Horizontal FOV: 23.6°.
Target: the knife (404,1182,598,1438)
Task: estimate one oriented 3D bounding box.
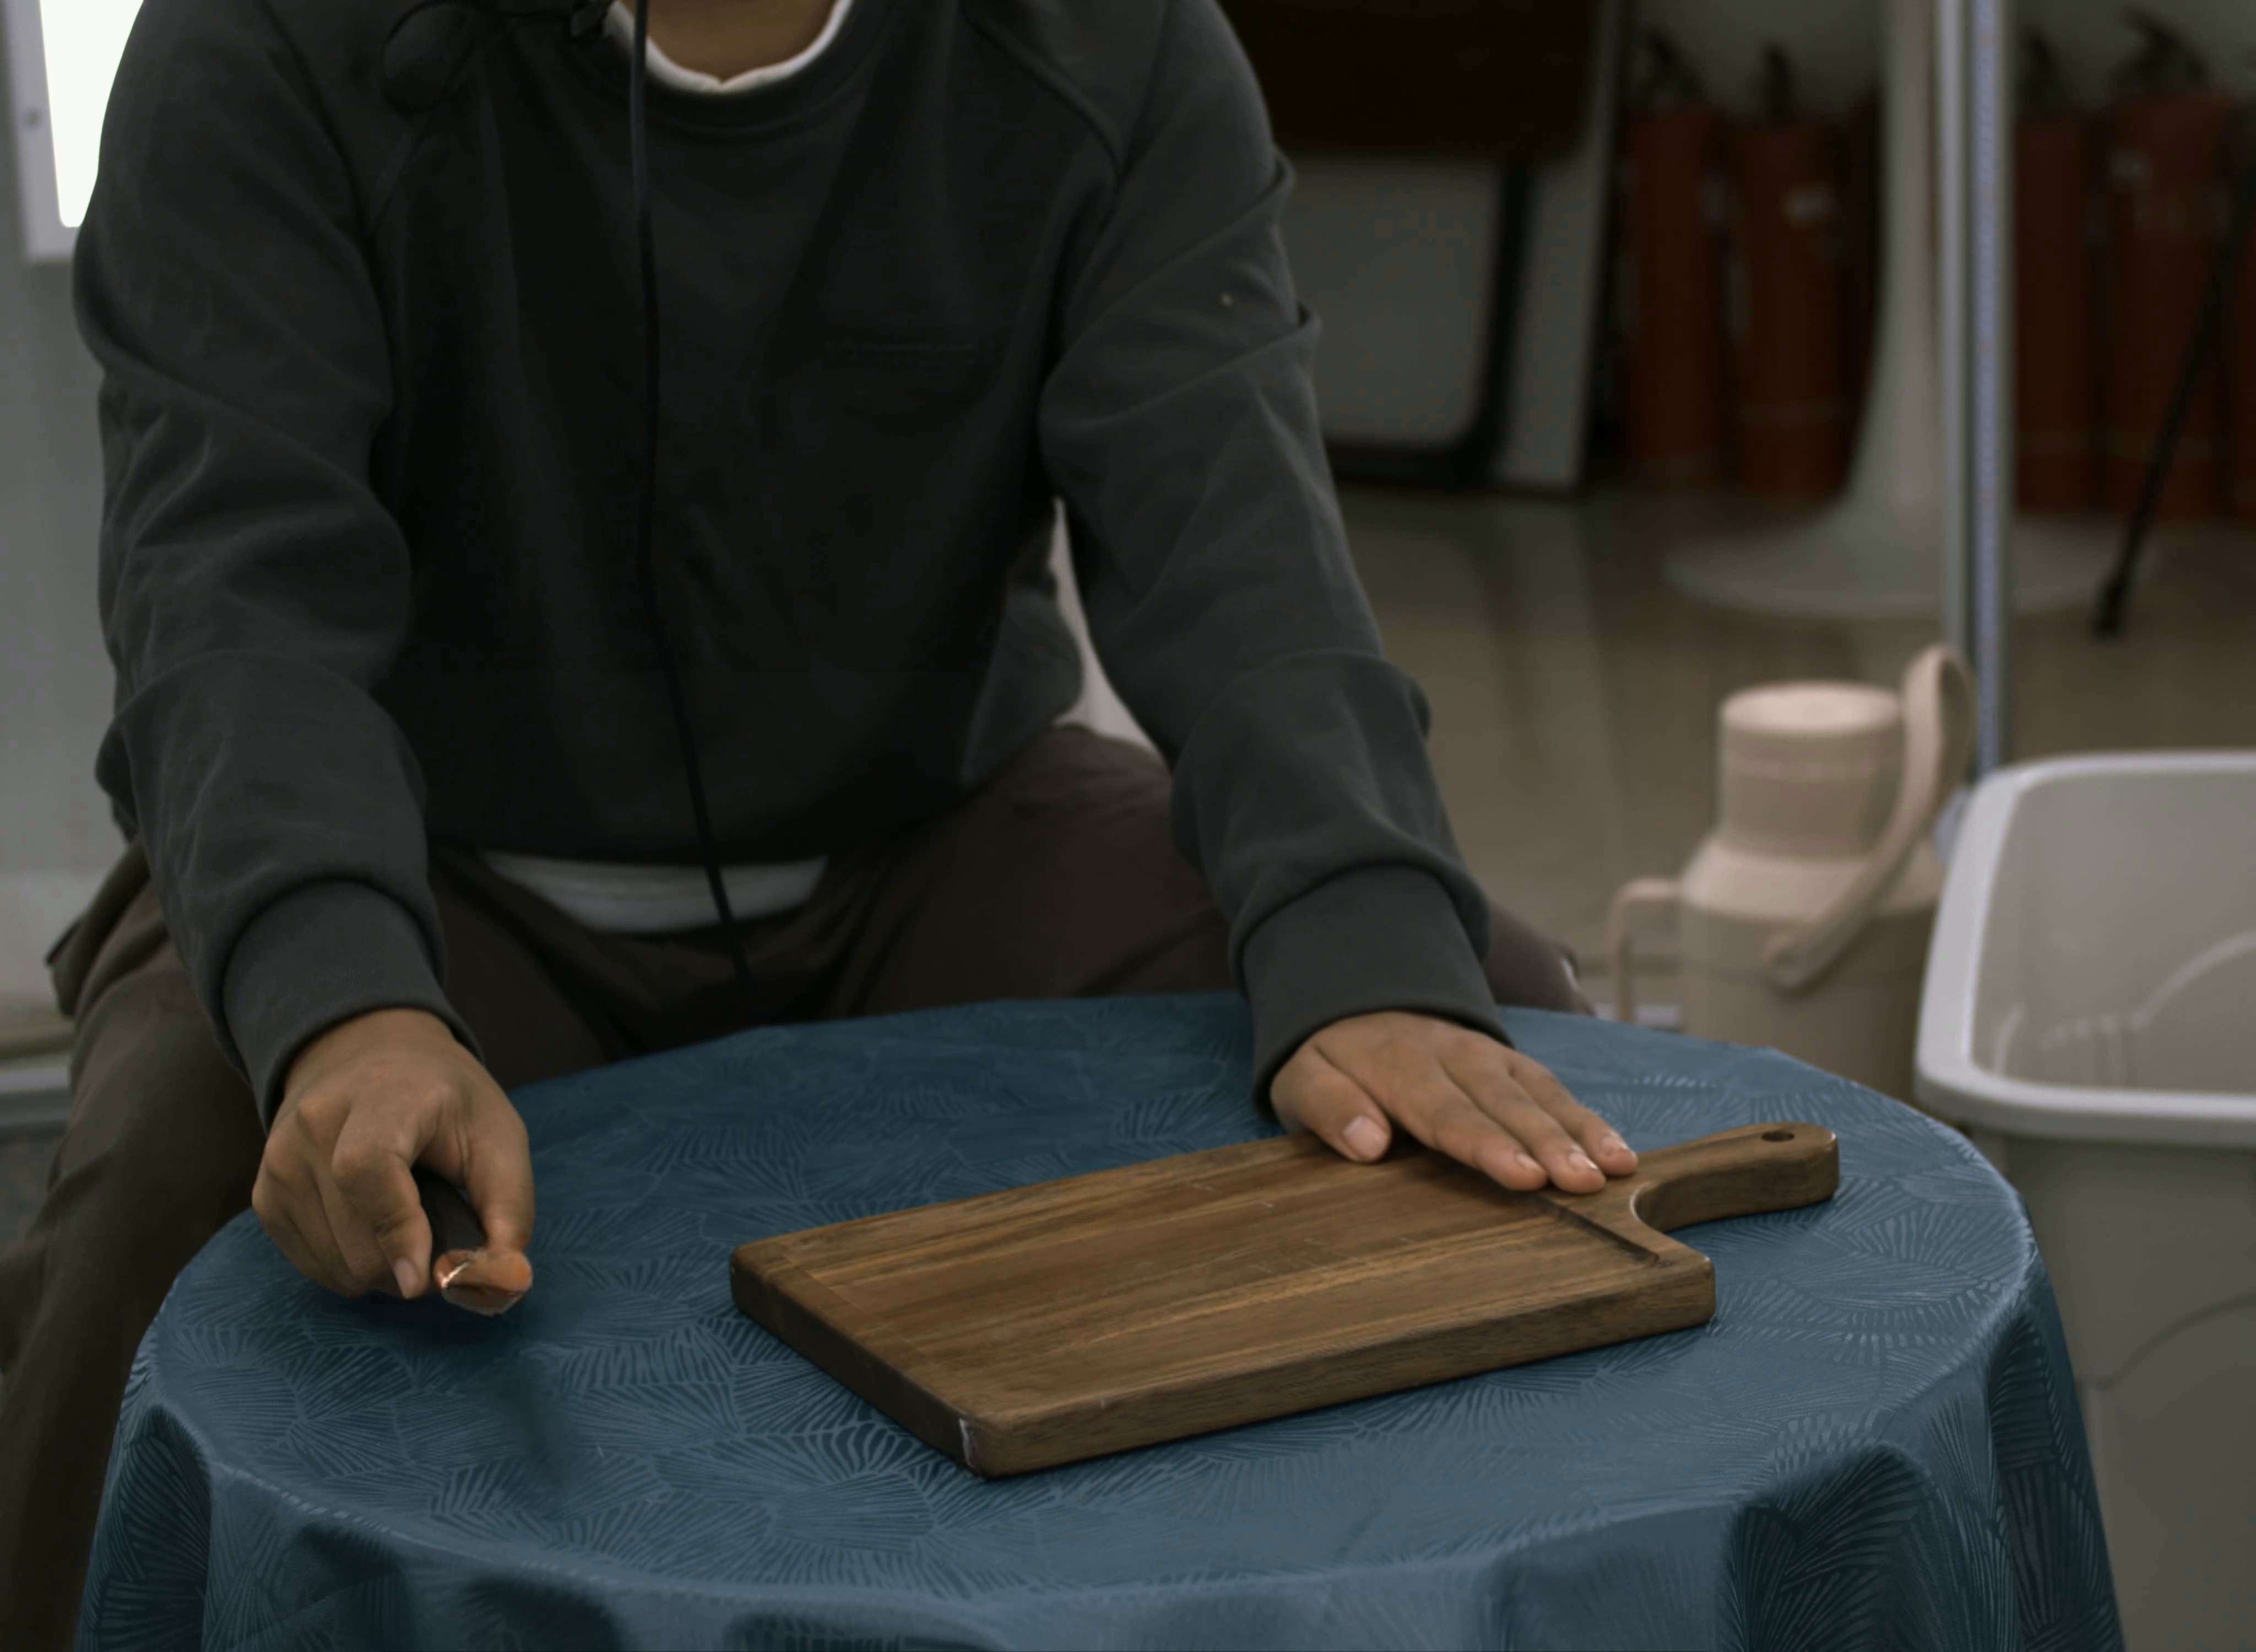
[{"bbox_3d":[-0.189,0.144,1.619,0.025,0.017,0.227,14,8,-20],"label":"knife"}]

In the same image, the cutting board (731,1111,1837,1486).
[{"bbox_3d":[0.071,0.132,1.666,0.344,0.023,0.203,-10,15,-24],"label":"cutting board"}]
